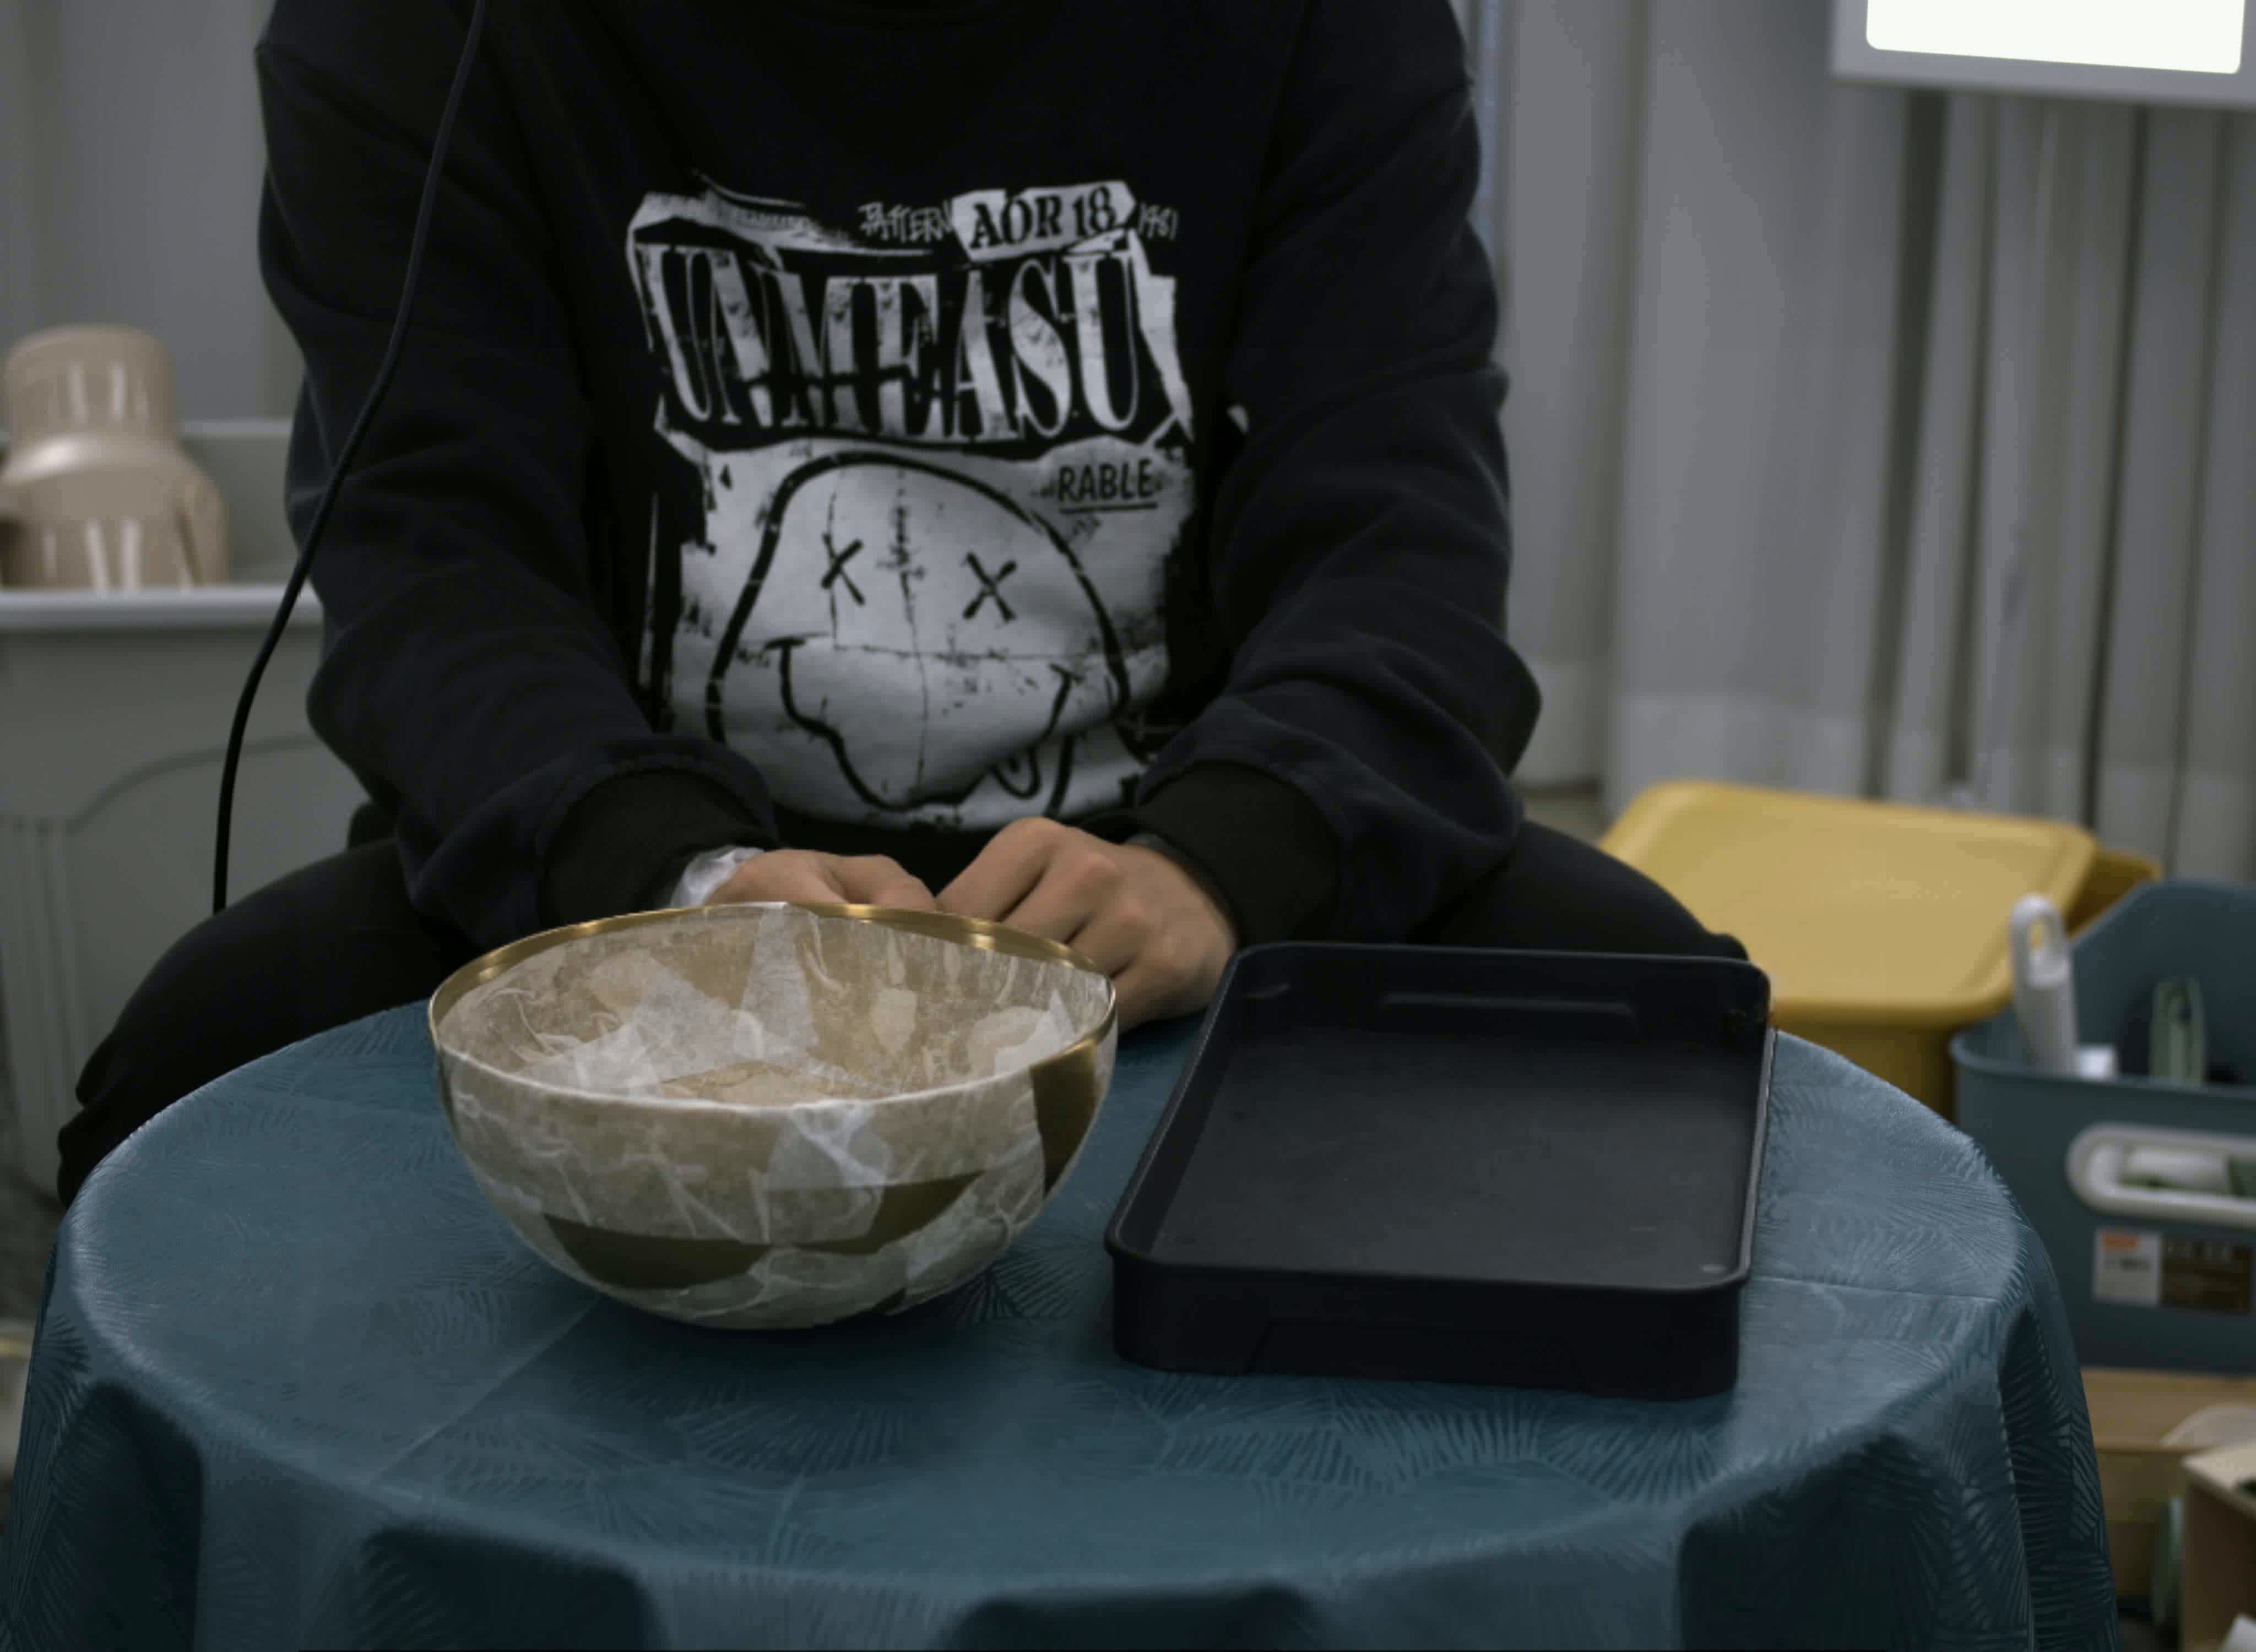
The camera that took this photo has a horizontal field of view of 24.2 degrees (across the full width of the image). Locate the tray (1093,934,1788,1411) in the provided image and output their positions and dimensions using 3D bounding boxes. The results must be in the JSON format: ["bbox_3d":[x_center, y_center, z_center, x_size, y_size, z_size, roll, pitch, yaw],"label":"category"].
[{"bbox_3d":[0.103,0.099,1.613,0.183,0.037,0.317,4,16,9],"label":"tray"}]

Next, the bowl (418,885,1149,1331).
[{"bbox_3d":[-0.099,0.091,1.529,0.214,0.095,0.213,0,16,1],"label":"bowl"}]
